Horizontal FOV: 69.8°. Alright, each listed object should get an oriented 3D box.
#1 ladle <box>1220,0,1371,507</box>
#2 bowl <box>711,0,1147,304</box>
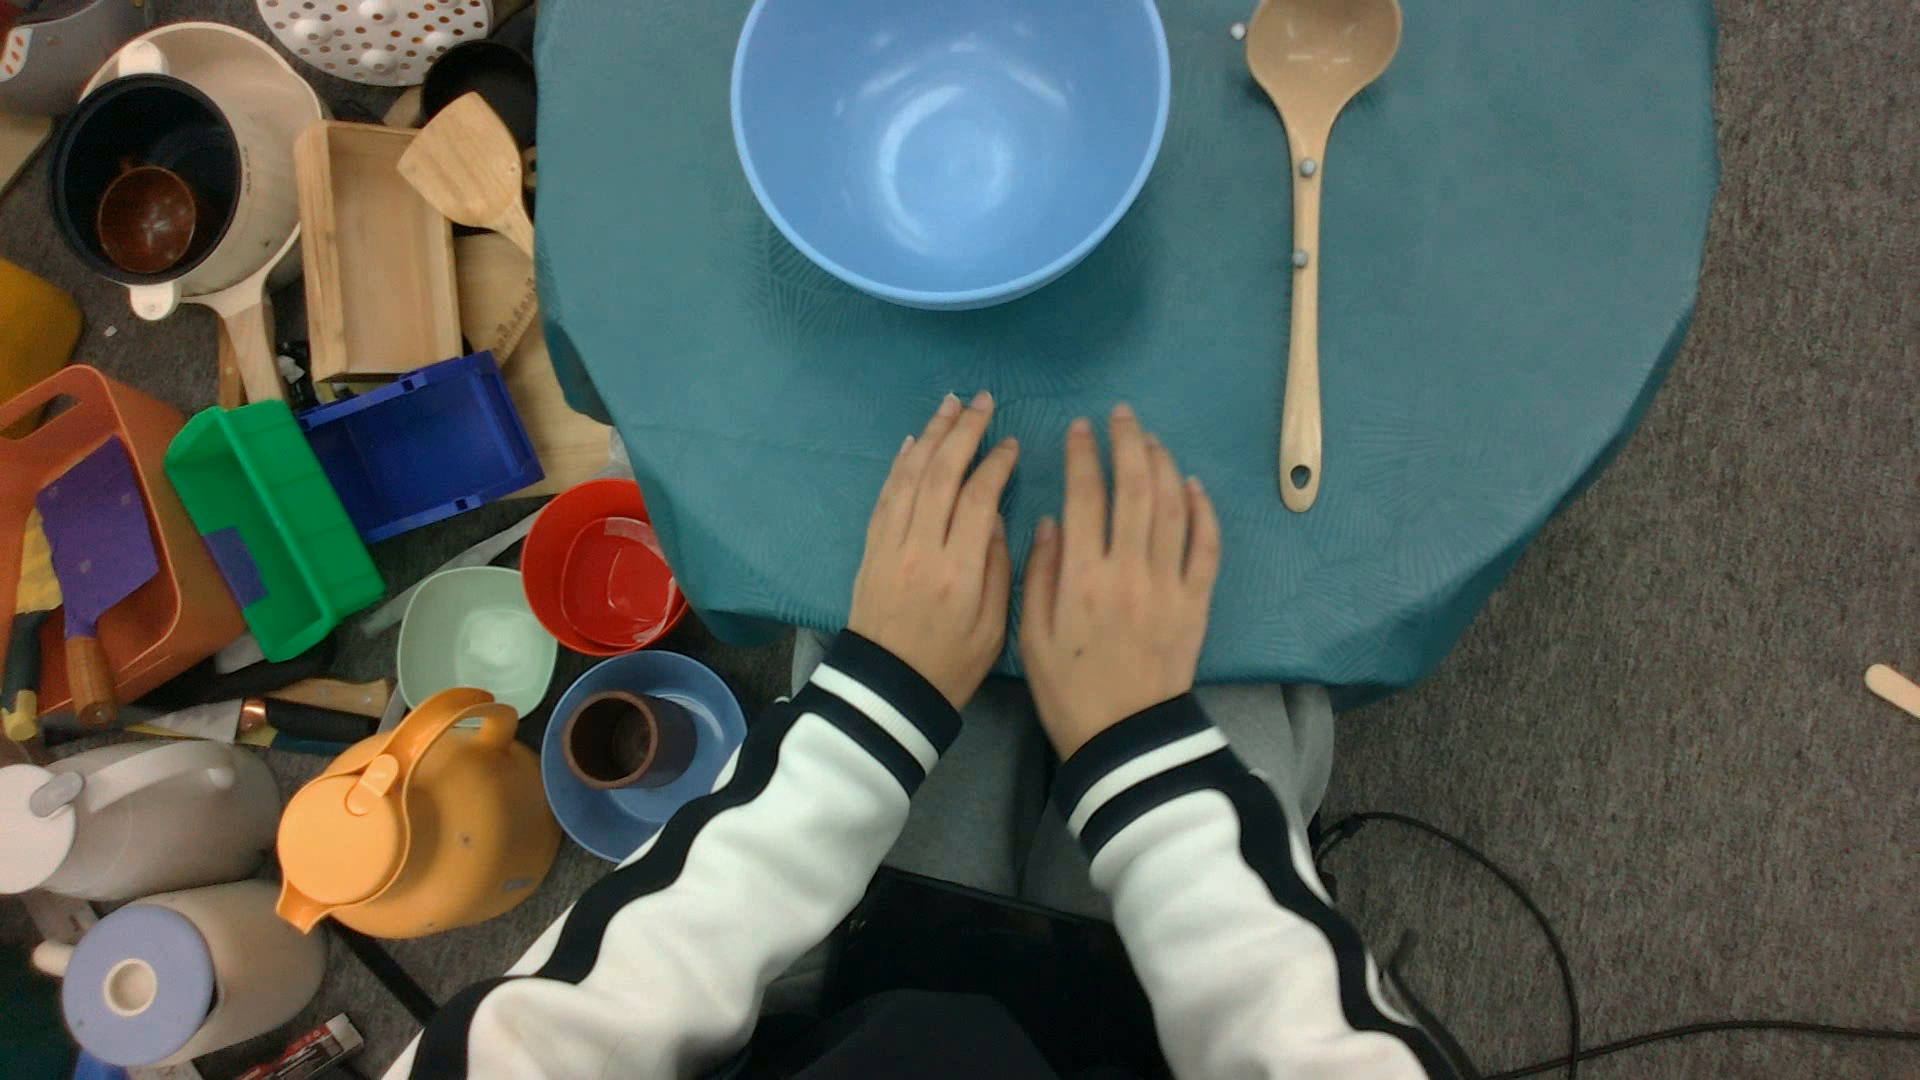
[{"bbox_3d":[0.162,-0.147,0.656,0.072,0.073,0.255,0,81,4],"label":"ladle"},{"bbox_3d":[-0.012,-0.195,0.660,0.196,0.095,0.197,-1,78,3],"label":"bowl"}]
